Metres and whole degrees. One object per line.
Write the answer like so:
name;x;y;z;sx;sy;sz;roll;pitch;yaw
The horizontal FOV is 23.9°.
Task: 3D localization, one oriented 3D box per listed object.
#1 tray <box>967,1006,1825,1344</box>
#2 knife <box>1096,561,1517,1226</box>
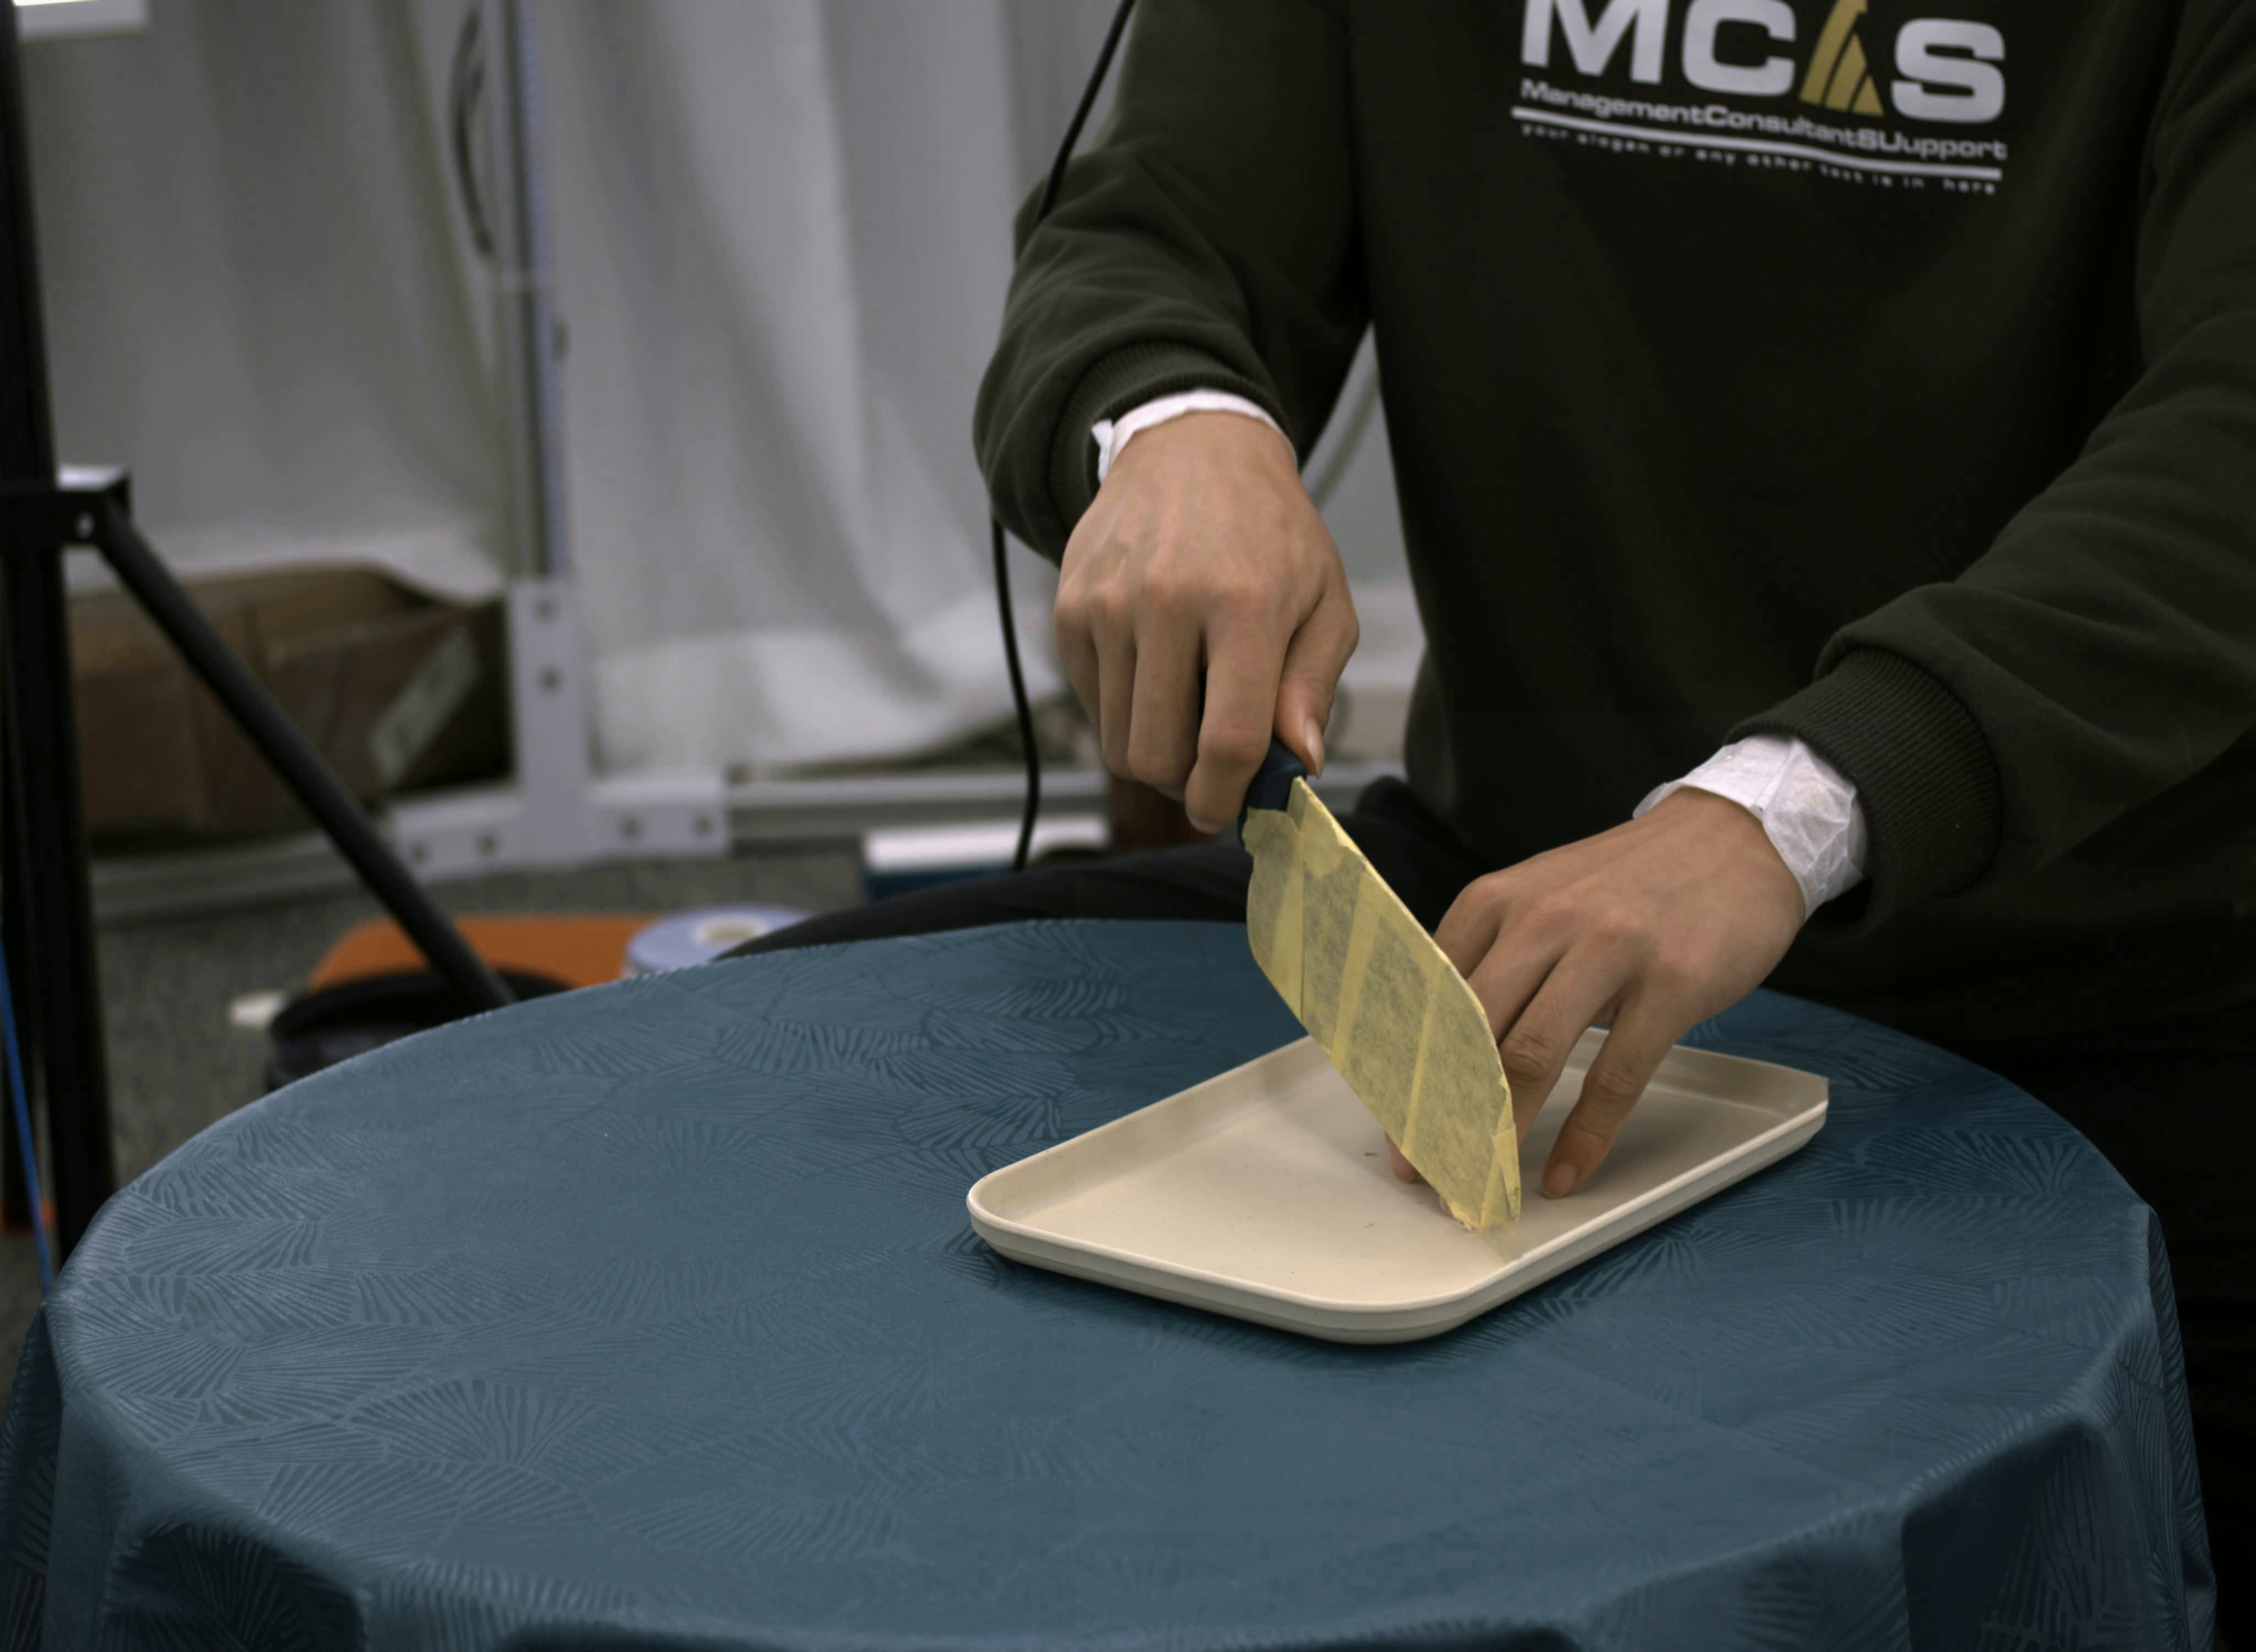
tray;0.081;0.100;1.546;0.175;0.017;0.234;10;20;39
knife;0.052;0.017;1.576;0.026;0.081;0.295;-5;39;-25
